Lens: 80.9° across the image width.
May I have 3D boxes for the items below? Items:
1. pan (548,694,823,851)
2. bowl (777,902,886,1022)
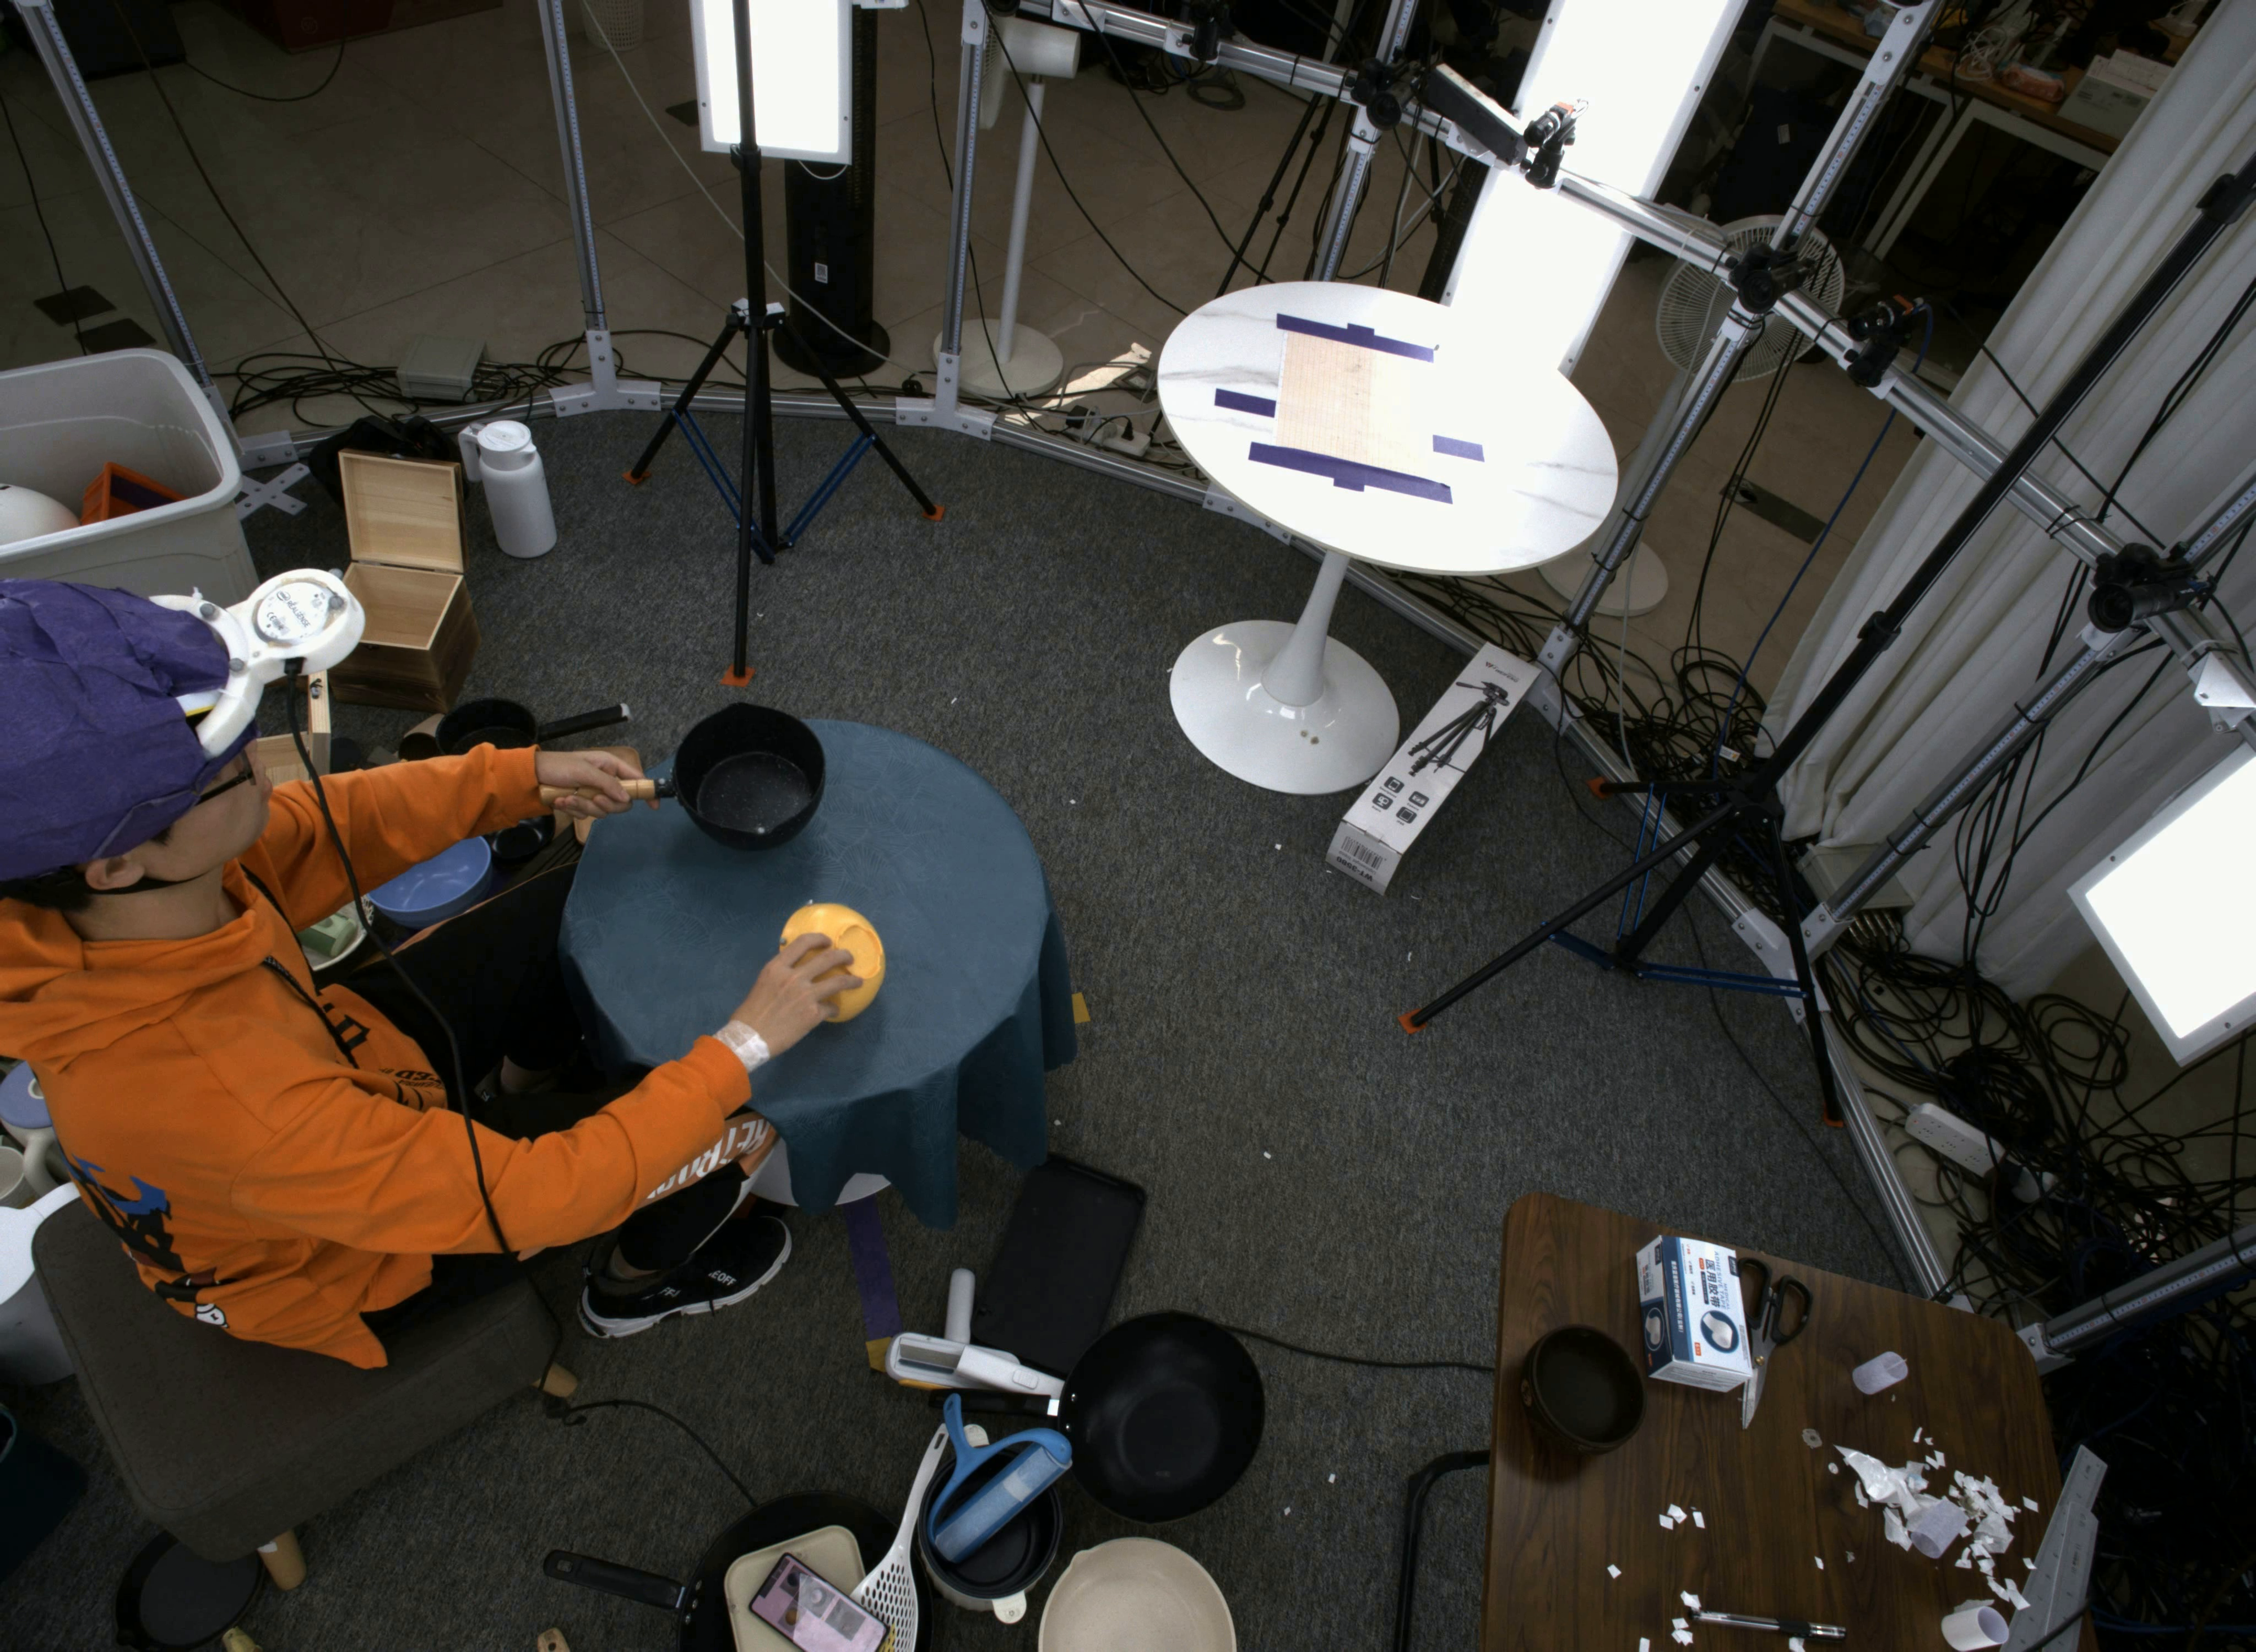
[{"bbox_3d":[-0.546,-0.047,1.583,0.344,0.109,0.204,-12,65,-21],"label":"pan"},{"bbox_3d":[-0.329,0.147,1.501,0.150,0.059,0.143,34,47,-42],"label":"bowl"}]
